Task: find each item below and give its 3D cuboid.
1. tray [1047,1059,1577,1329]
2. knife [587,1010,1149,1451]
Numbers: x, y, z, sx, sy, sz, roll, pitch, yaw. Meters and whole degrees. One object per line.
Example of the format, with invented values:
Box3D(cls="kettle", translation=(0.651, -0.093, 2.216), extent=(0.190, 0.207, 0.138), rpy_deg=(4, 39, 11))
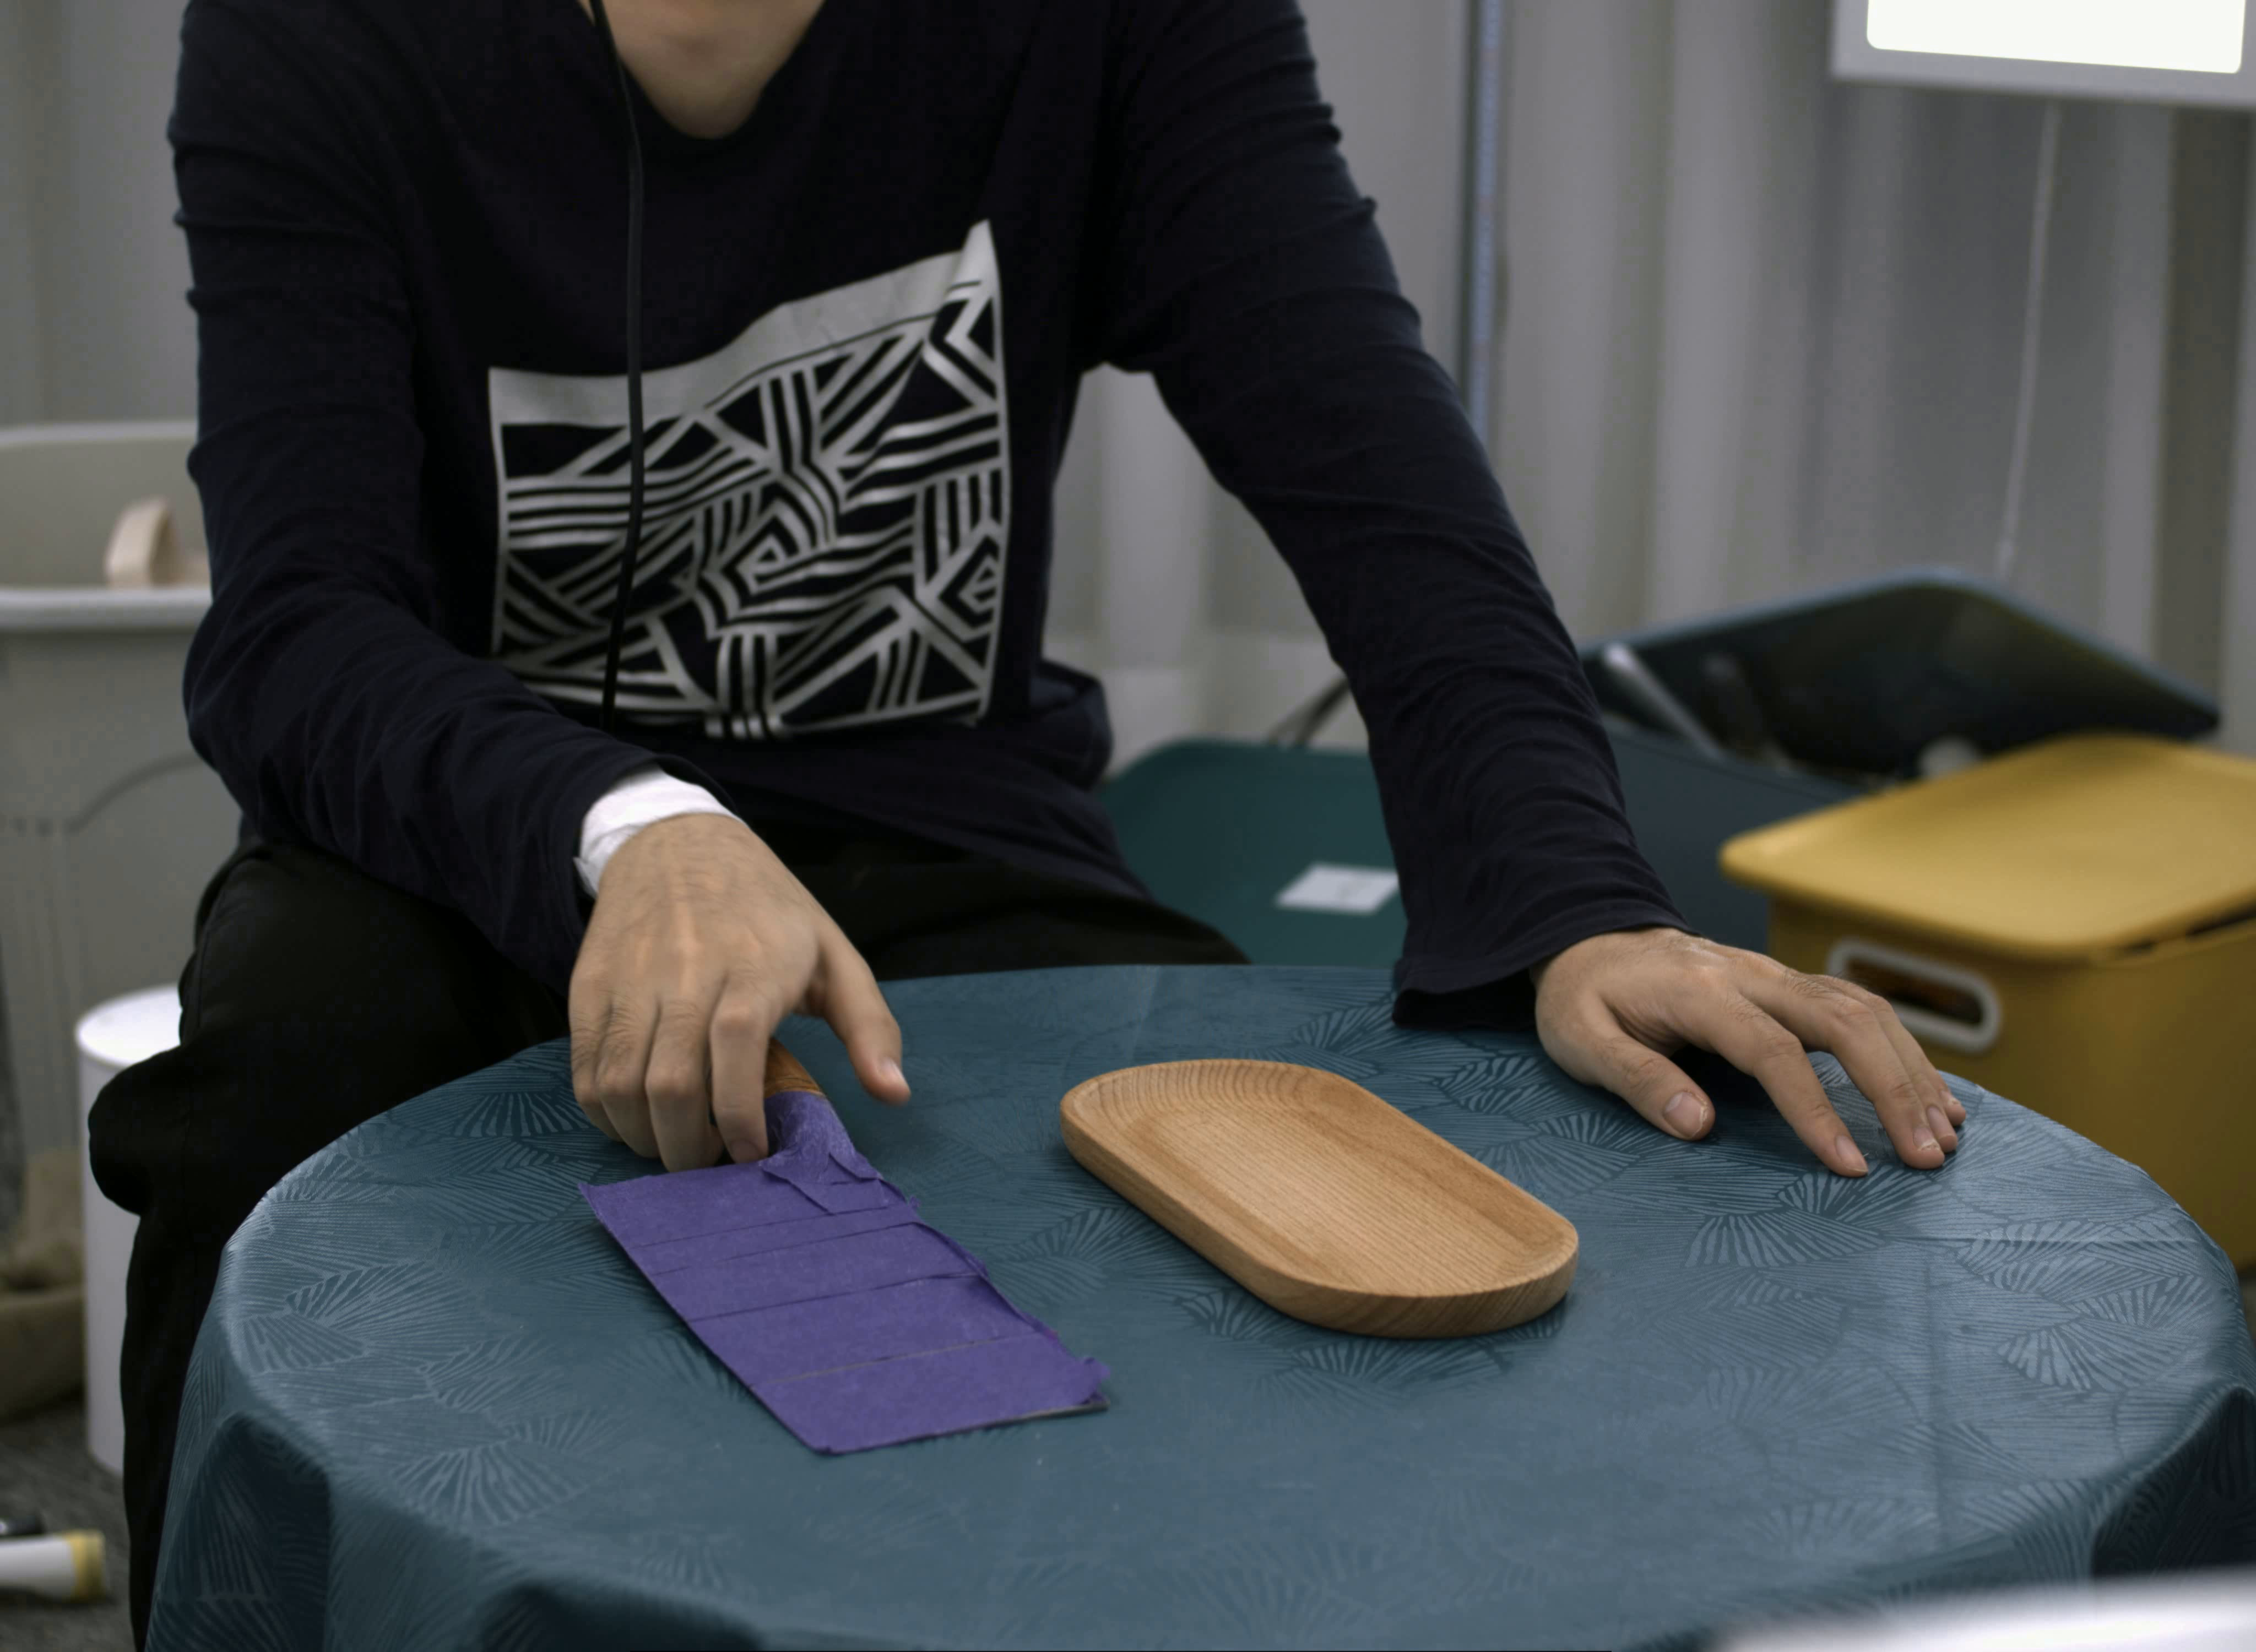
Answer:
Box3D(cls="tray", translation=(0.053, 0.110, 1.605), extent=(0.102, 0.020, 0.228), rpy_deg=(-6, 15, -25))
Box3D(cls="knife", translation=(-0.104, 0.115, 1.560), extent=(0.104, 0.032, 0.311), rpy_deg=(-6, 17, -24))
